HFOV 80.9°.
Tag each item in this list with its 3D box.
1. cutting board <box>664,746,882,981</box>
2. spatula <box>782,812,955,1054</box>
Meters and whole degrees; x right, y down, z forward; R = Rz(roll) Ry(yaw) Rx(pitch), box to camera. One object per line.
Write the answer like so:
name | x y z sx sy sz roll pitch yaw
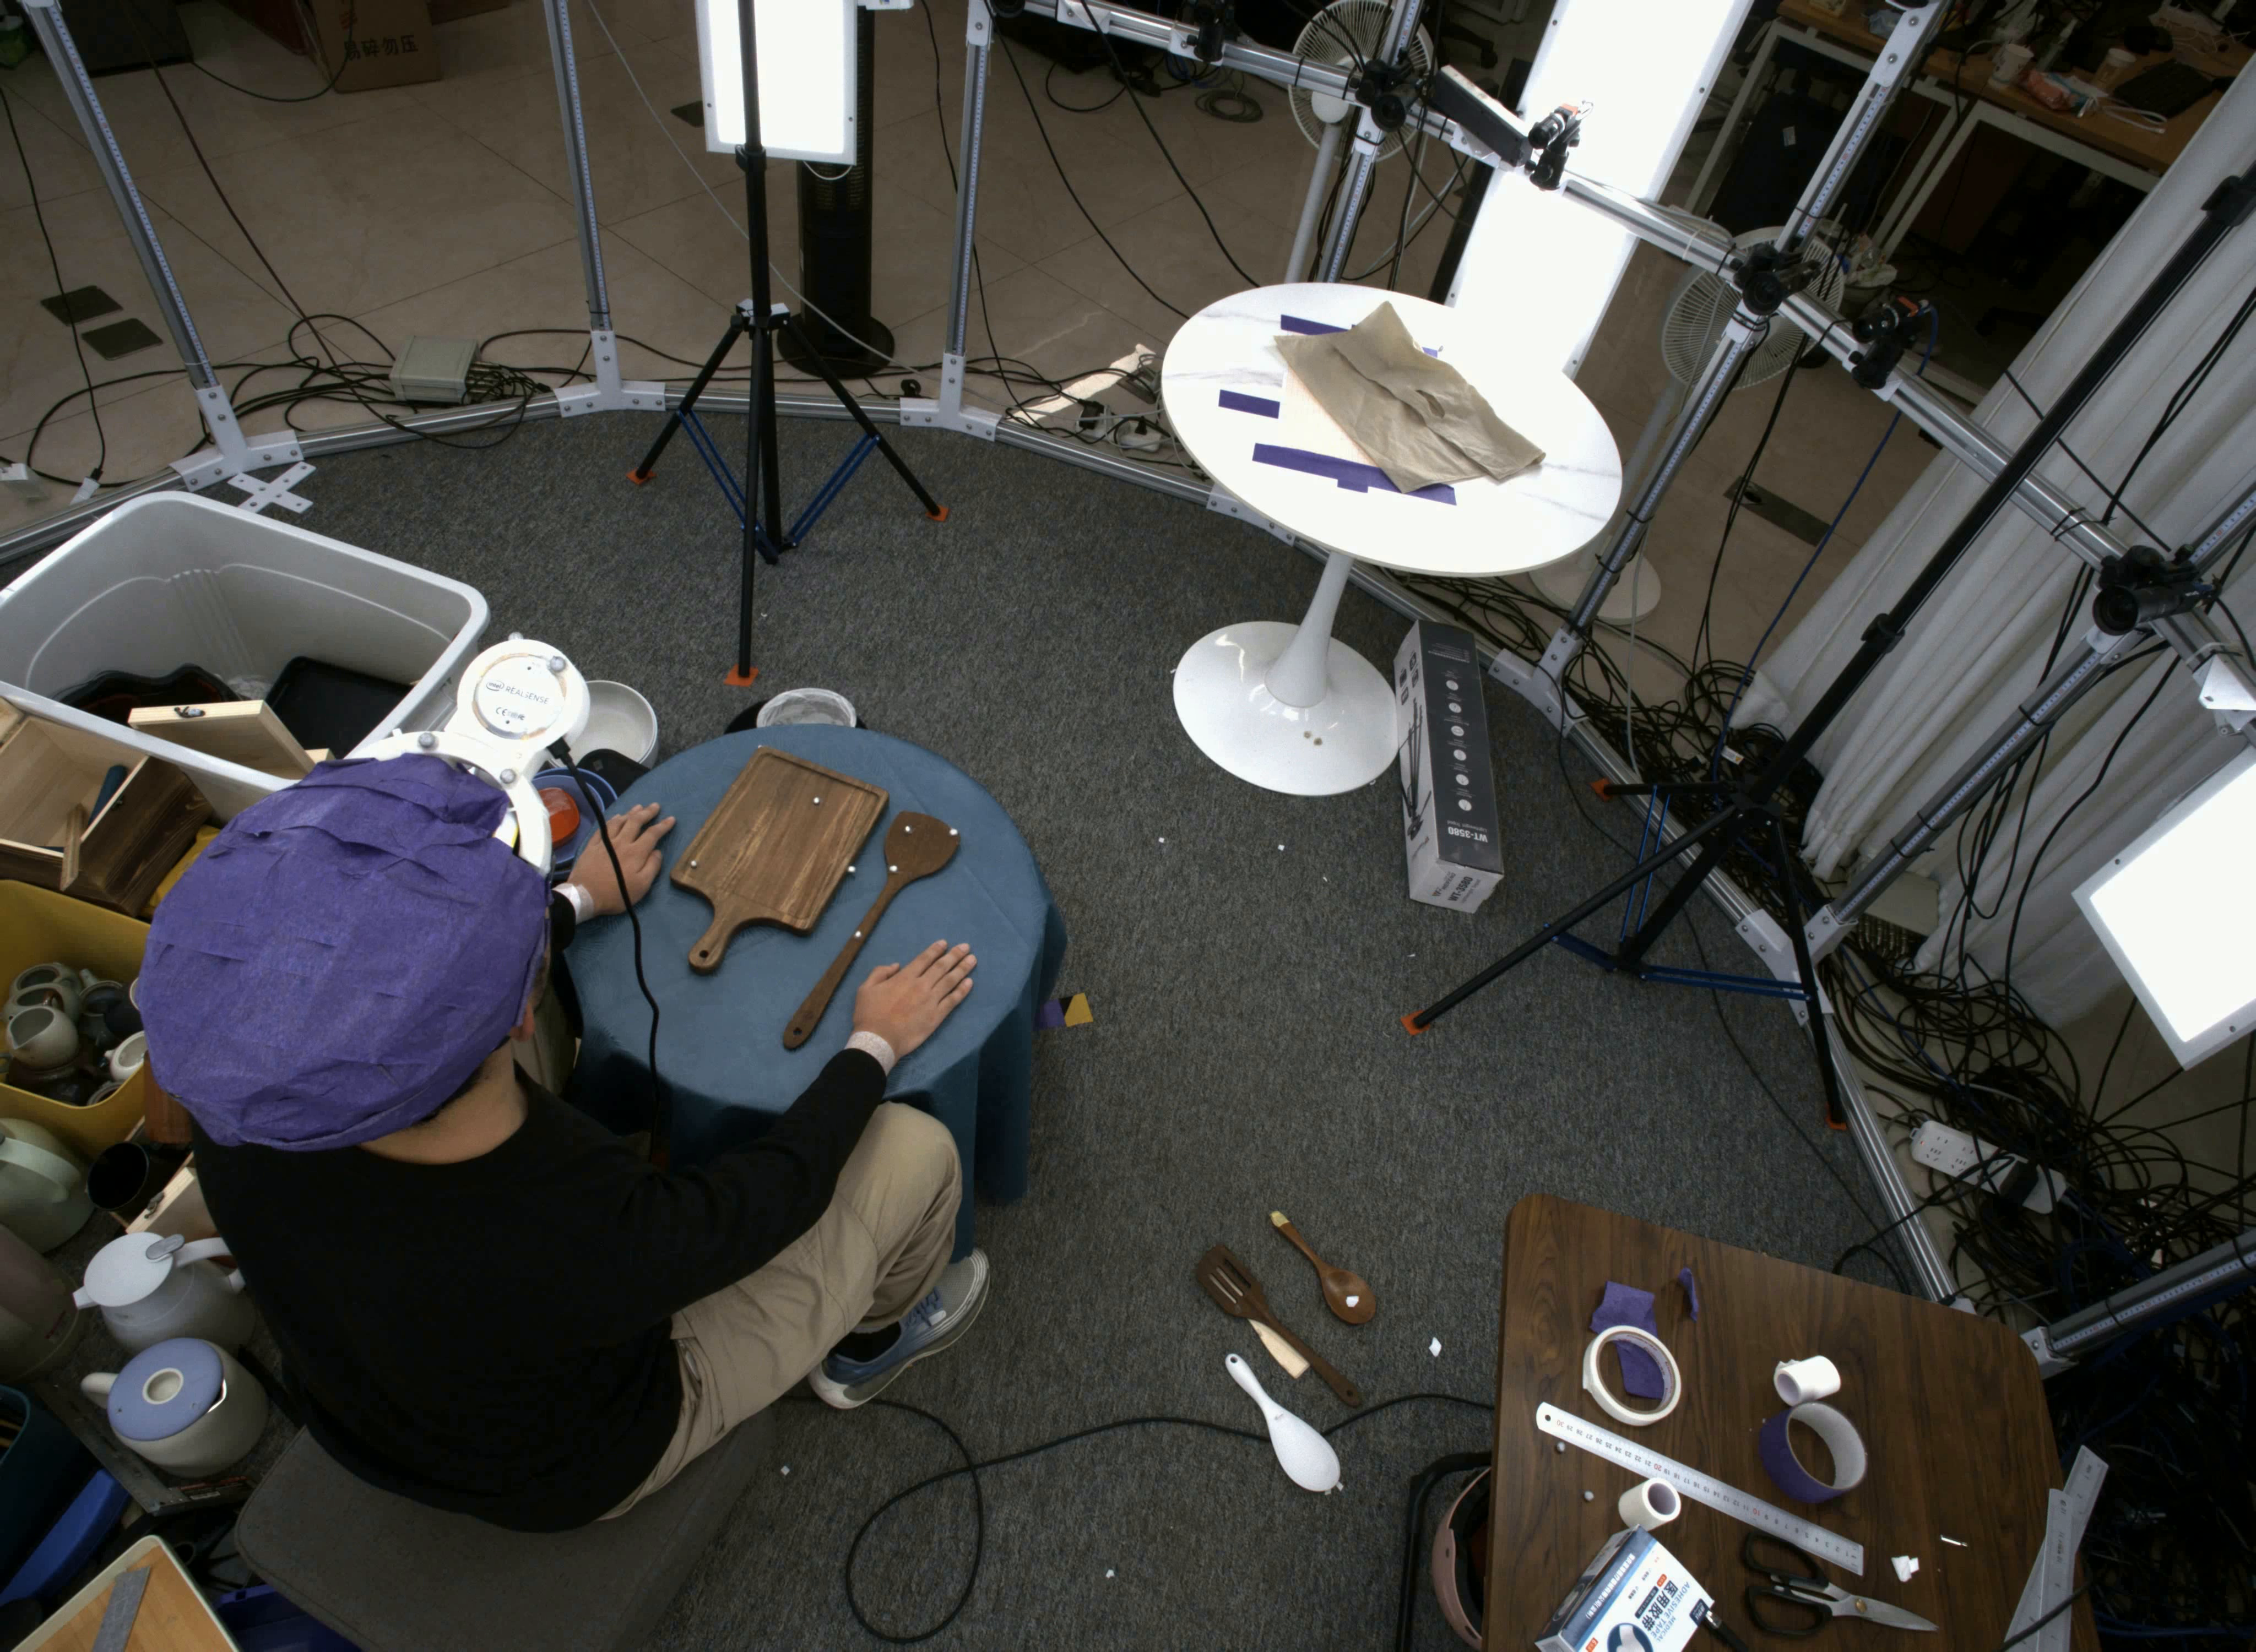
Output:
cutting board | -0.472 0.049 1.656 0.199 0.023 0.348 20 52 1
spatula | -0.334 0.126 1.639 0.095 0.016 0.383 23 52 4
